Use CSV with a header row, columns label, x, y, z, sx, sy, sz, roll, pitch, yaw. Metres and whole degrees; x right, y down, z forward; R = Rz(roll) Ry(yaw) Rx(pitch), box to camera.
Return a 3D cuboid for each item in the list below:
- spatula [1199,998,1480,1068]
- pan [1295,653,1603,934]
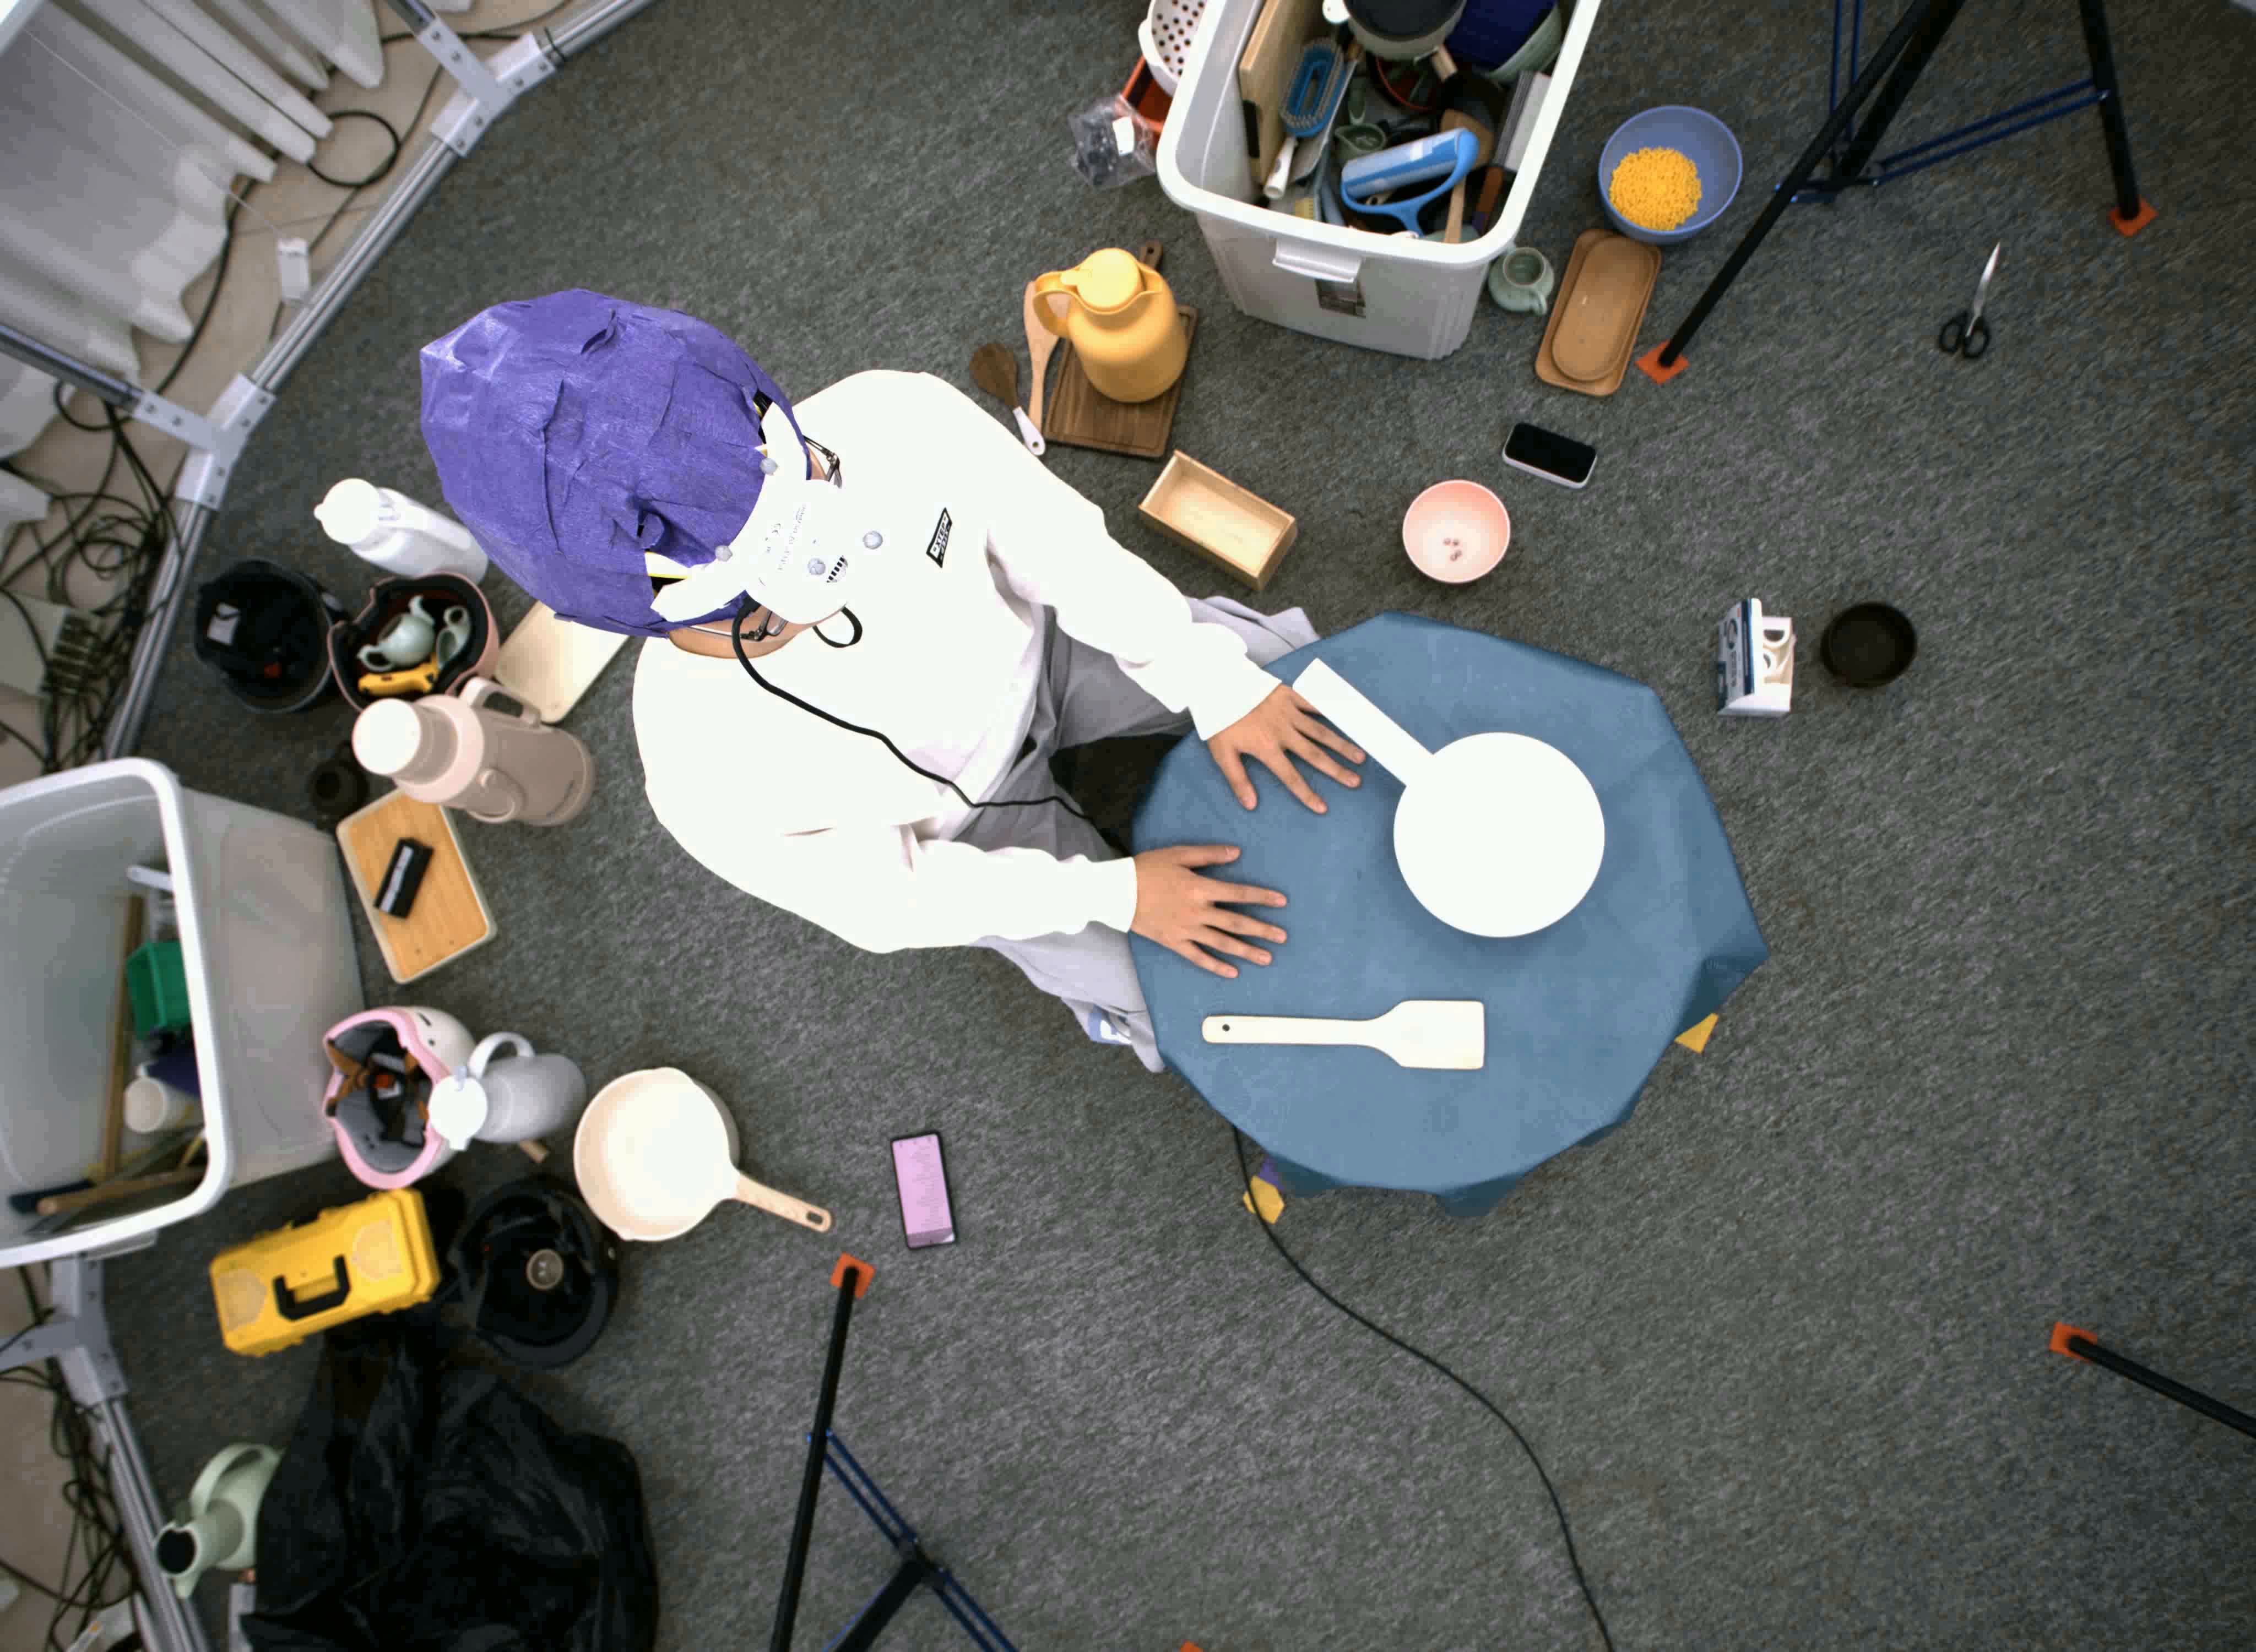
label,x,y,z,sx,sy,sz,roll,pitch,yaw
spatula,0.220,0.214,1.456,0.294,0.010,0.072,0,88,11
pan,0.315,-0.041,1.407,0.353,0.102,0.202,42,95,11
